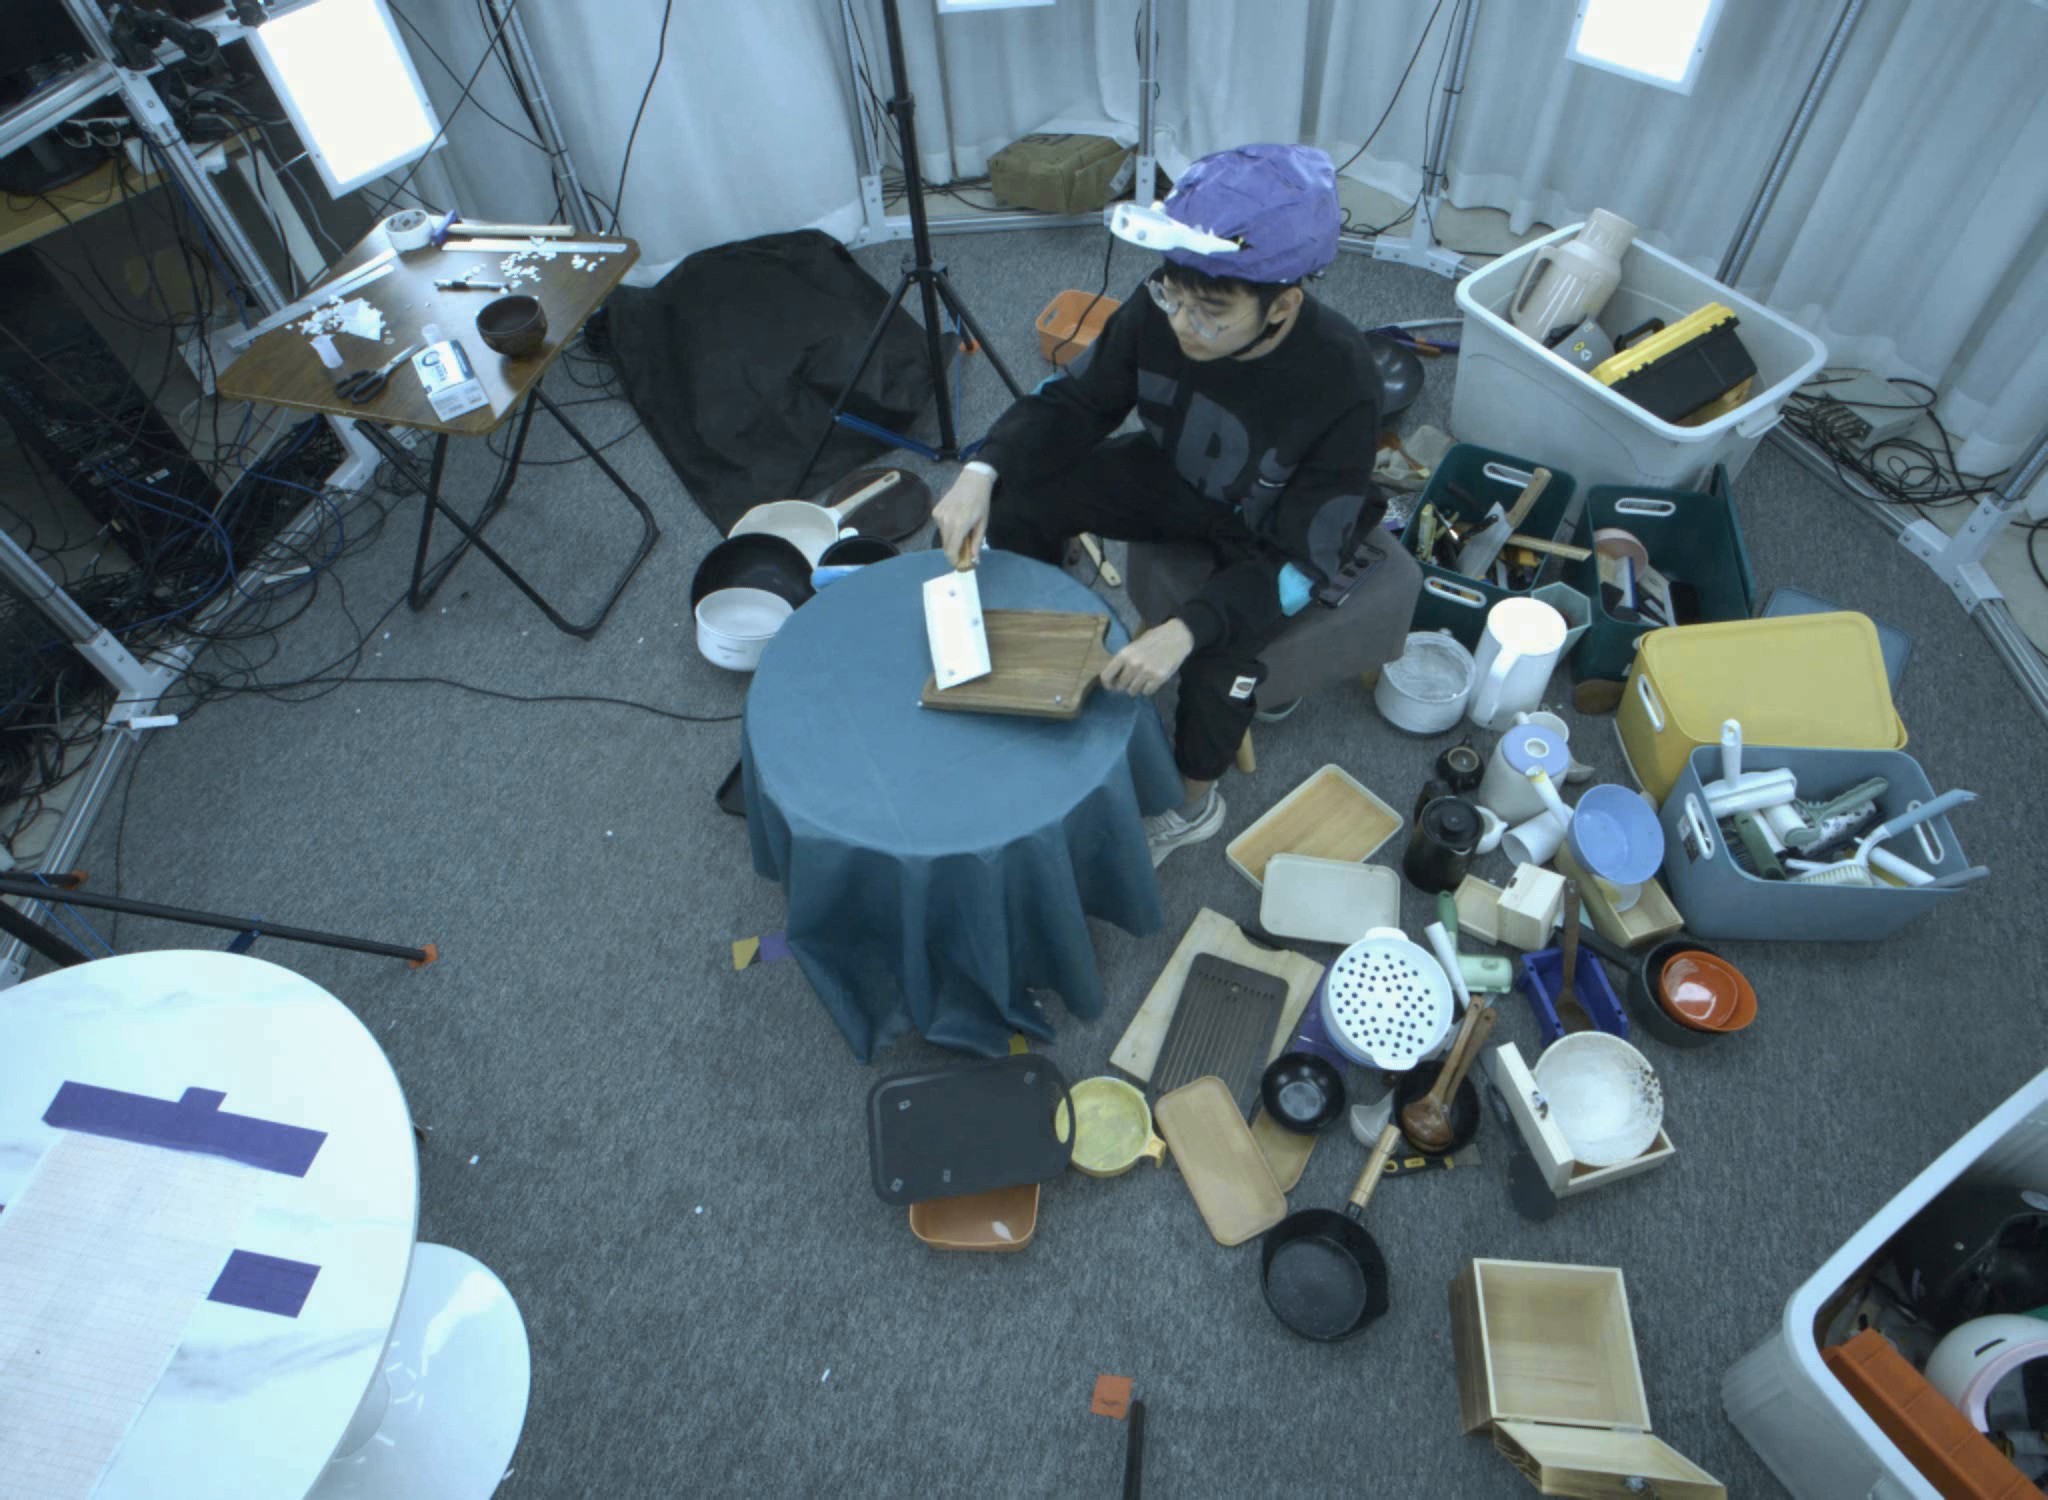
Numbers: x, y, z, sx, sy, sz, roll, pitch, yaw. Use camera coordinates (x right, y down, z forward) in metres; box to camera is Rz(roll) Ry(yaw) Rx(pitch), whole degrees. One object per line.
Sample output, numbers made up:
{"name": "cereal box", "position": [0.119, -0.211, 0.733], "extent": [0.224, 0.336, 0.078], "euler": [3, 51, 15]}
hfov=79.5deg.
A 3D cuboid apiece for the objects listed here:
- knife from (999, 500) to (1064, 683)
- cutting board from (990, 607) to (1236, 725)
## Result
{"name": "knife", "position": [0.005, -0.243, 1.873], "extent": [0.092, 0.021, 0.303], "euler": [-14, 66, 20]}
{"name": "cutting board", "position": [0.140, -0.124, 1.820], "extent": [0.347, 0.023, 0.201], "euler": [9, 55, 21]}
